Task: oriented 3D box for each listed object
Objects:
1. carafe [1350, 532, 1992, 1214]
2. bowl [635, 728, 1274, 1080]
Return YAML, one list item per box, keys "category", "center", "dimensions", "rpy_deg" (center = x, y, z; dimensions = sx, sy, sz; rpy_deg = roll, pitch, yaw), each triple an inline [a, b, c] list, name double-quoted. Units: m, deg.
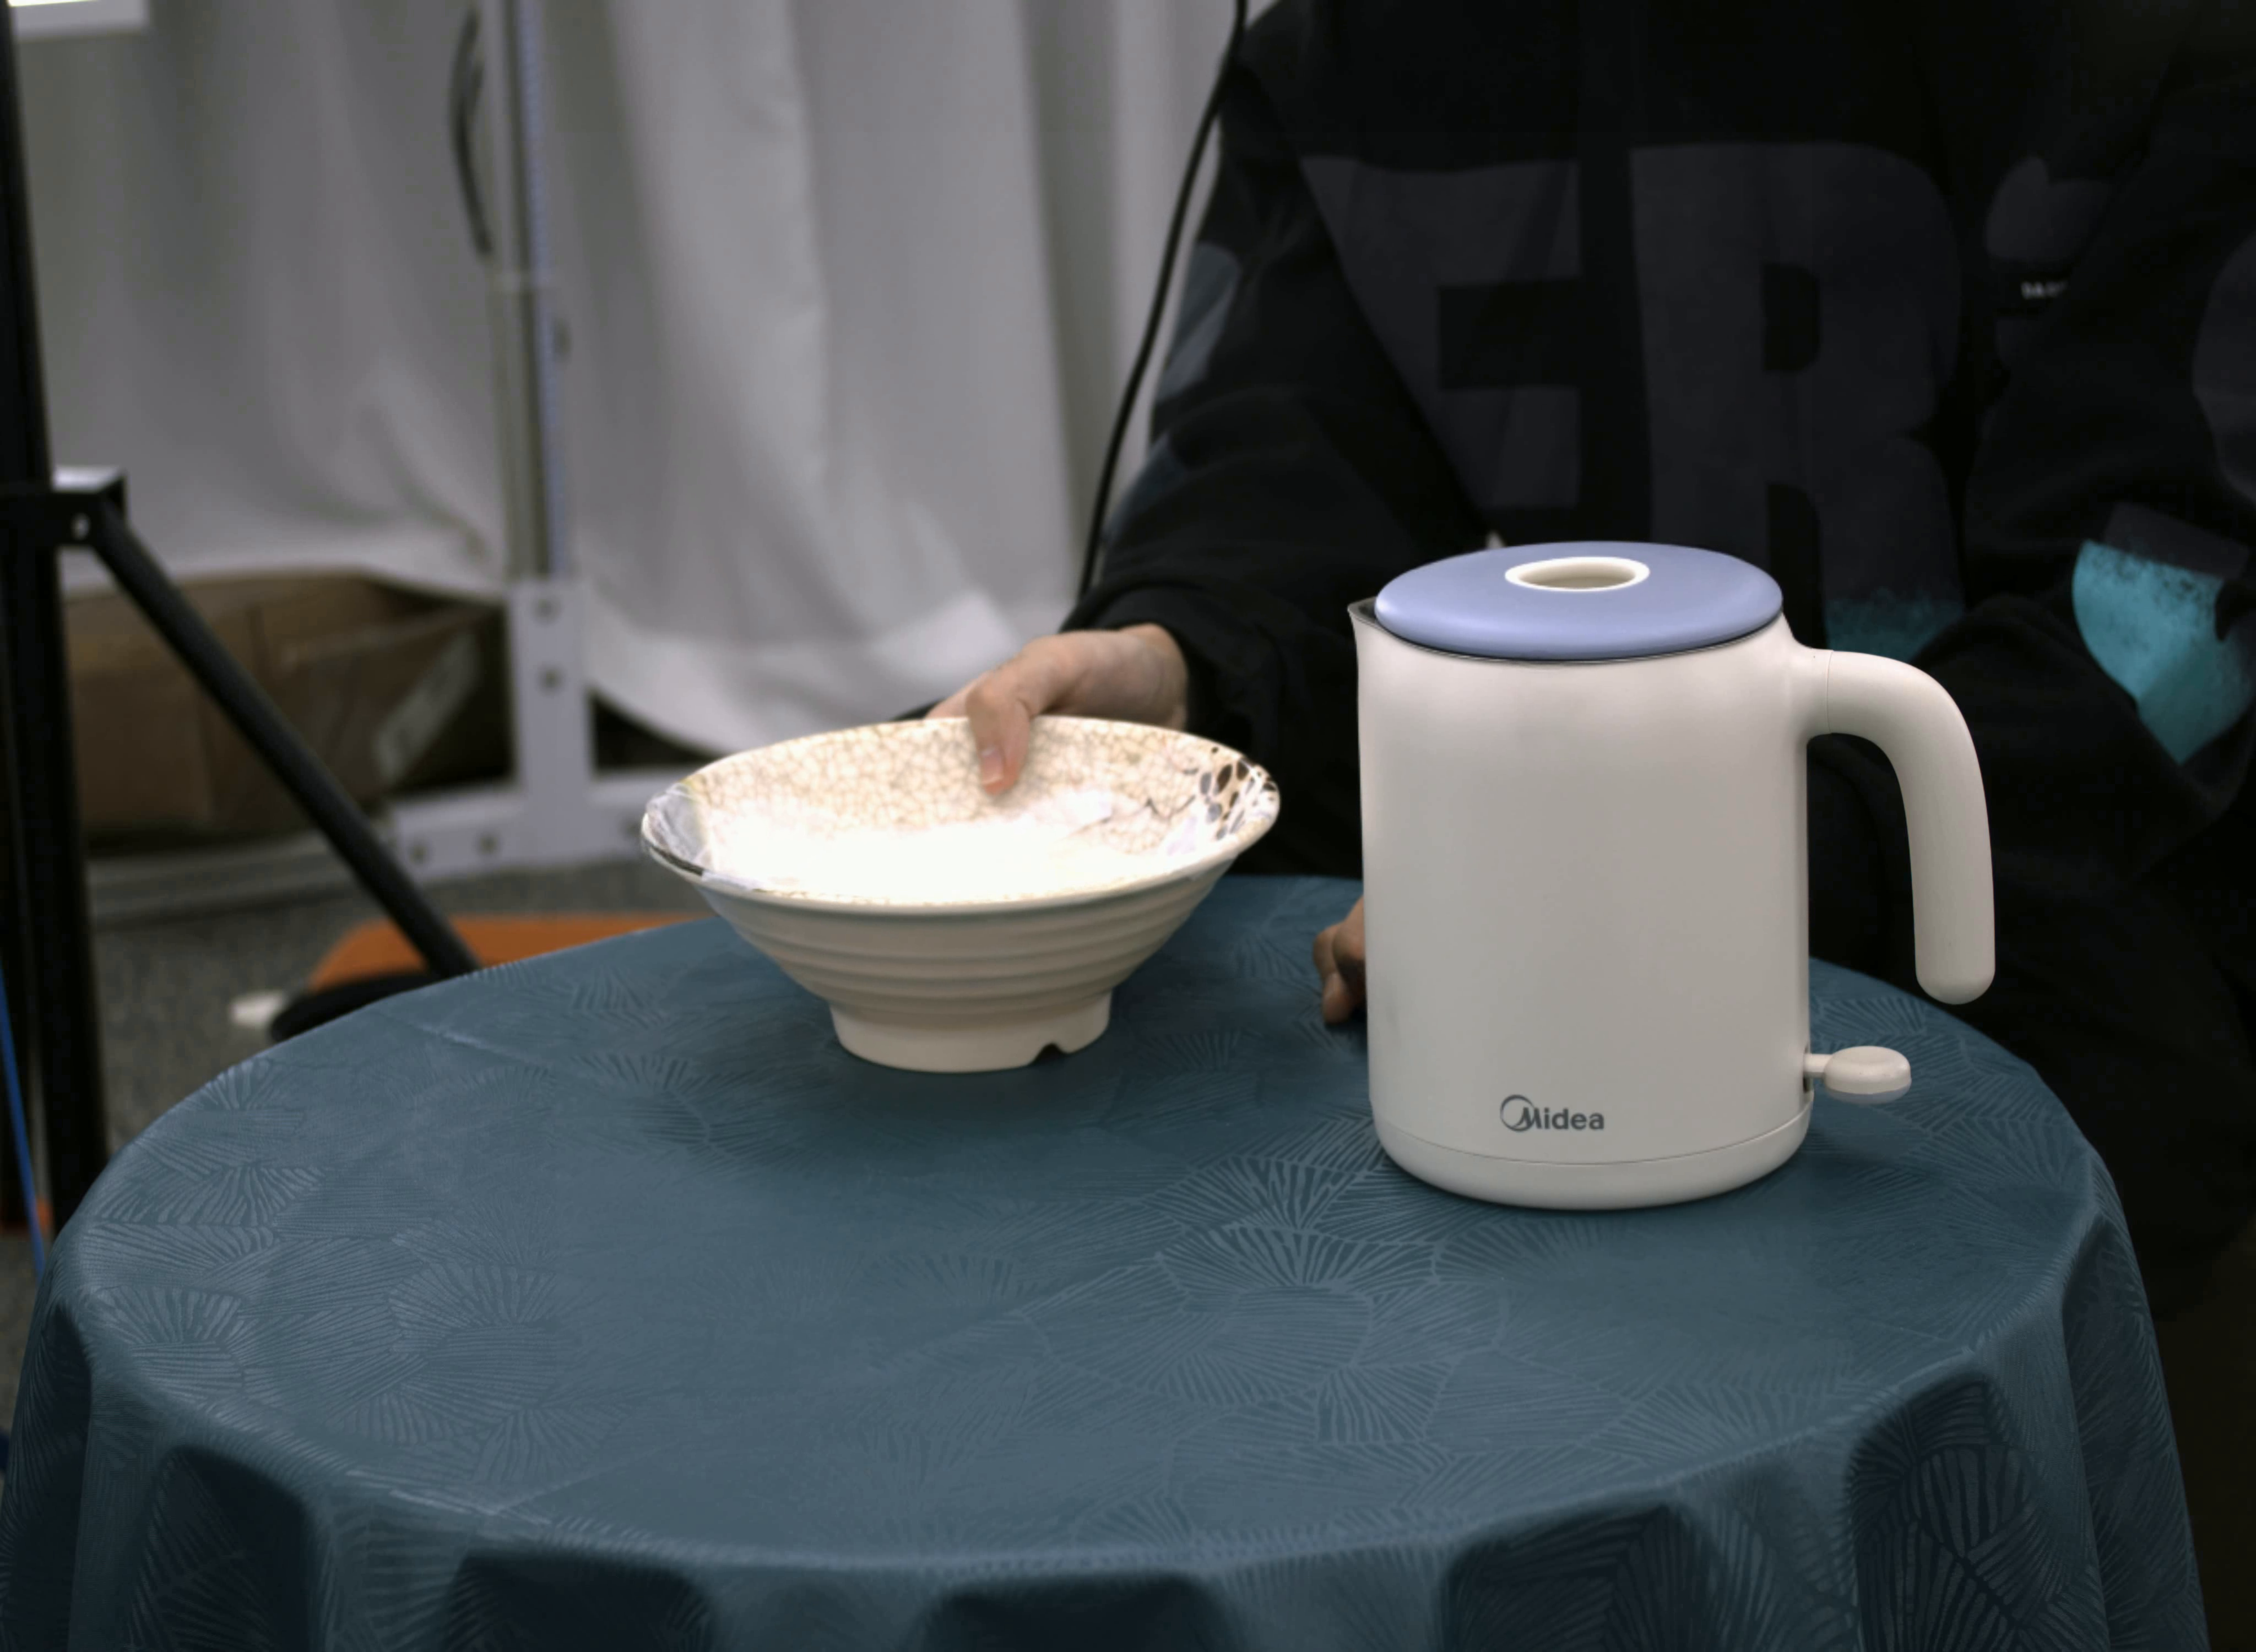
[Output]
- category: "carafe"
  center: [0.158, 0.015, 1.549]
  dimensions: [0.192, 0.182, 0.131]
  rpy_deg: [4, 17, 14]
- category: "bowl"
  center: [-0.055, 0.031, 1.701]
  dimensions: [0.203, 0.078, 0.205]
  rpy_deg: [-1, 15, -1]
